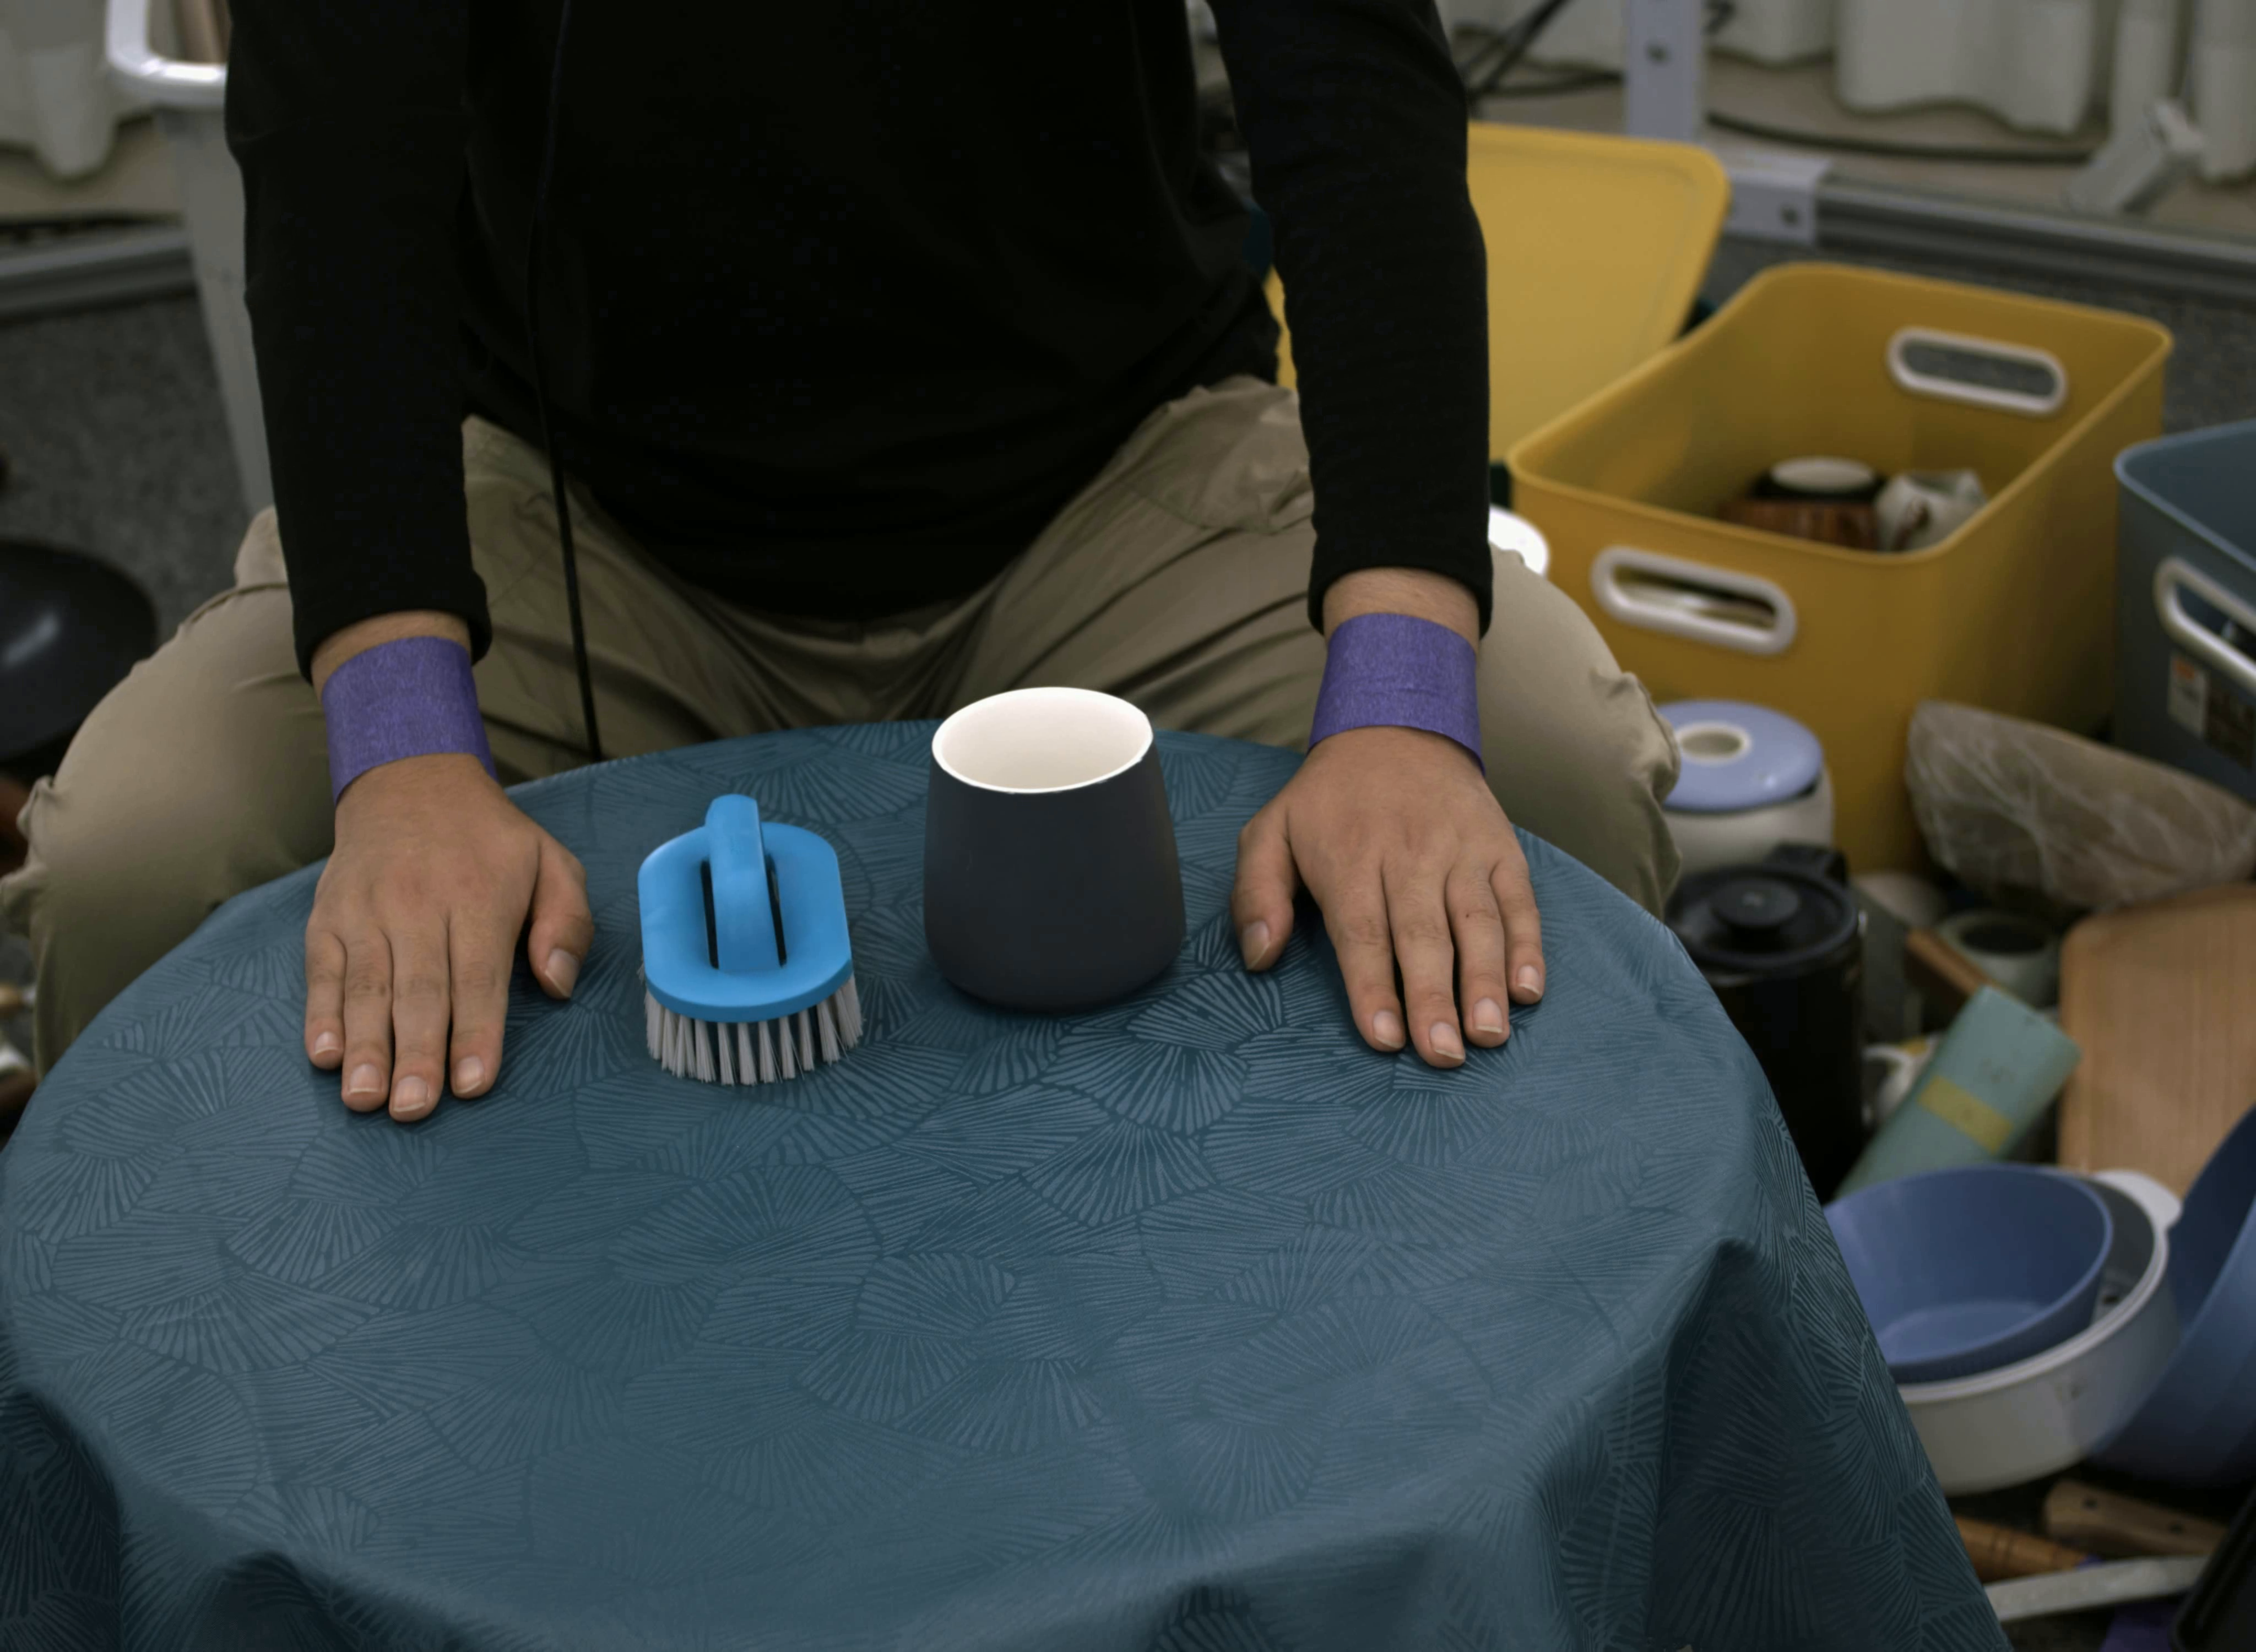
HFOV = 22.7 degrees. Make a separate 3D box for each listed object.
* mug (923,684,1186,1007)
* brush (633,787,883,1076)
[{"bbox_3d":[-0.027,0.000,1.997,0.093,0.089,0.125,-2,29,0],"label":"mug"},{"bbox_3d":[-0.134,0.029,1.983,0.084,0.063,0.143,-9,26,-1],"label":"brush"}]
